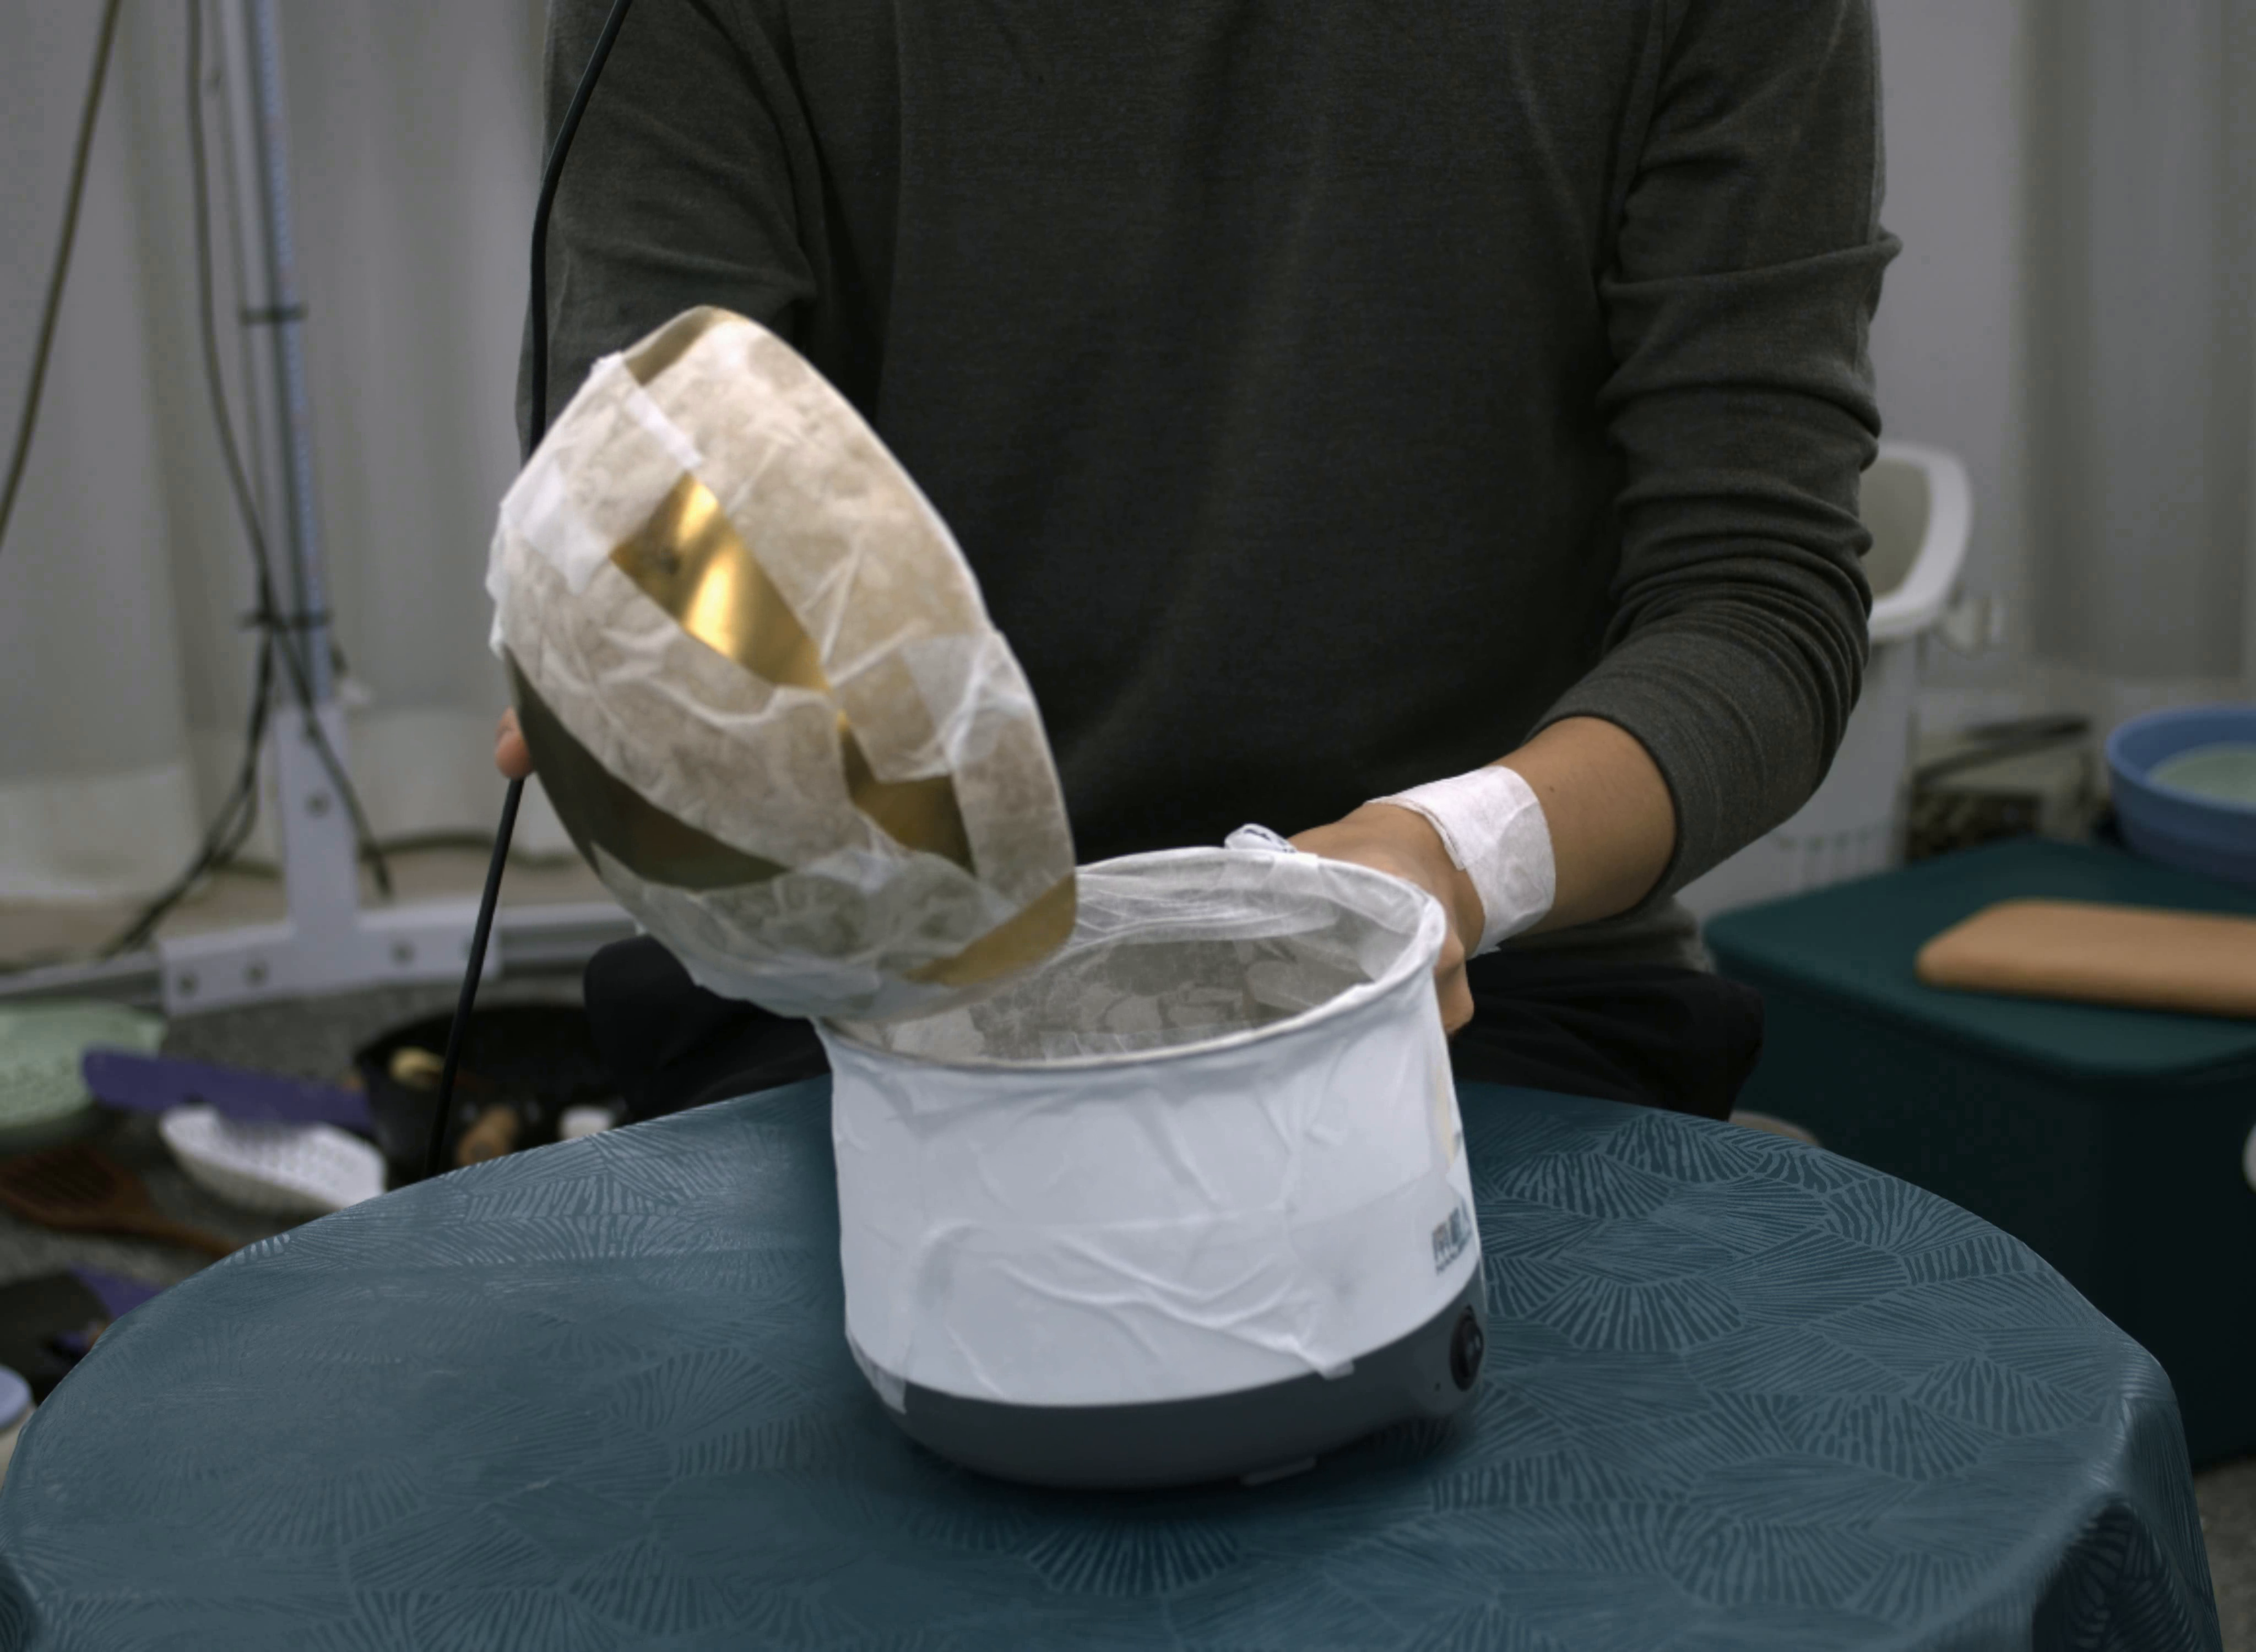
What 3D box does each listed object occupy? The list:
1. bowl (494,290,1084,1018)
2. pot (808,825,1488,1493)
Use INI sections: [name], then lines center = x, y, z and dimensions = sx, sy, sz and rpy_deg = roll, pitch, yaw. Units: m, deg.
[bowl]
center = -0.105, -0.027, 1.442
dimensions = 0.094, 0.213, 0.216
rpy_deg = -30, 24, -20
[pot]
center = 0.017, 0.087, 1.530
dimensions = 0.179, 0.136, 0.234
rpy_deg = 0, 17, 22
